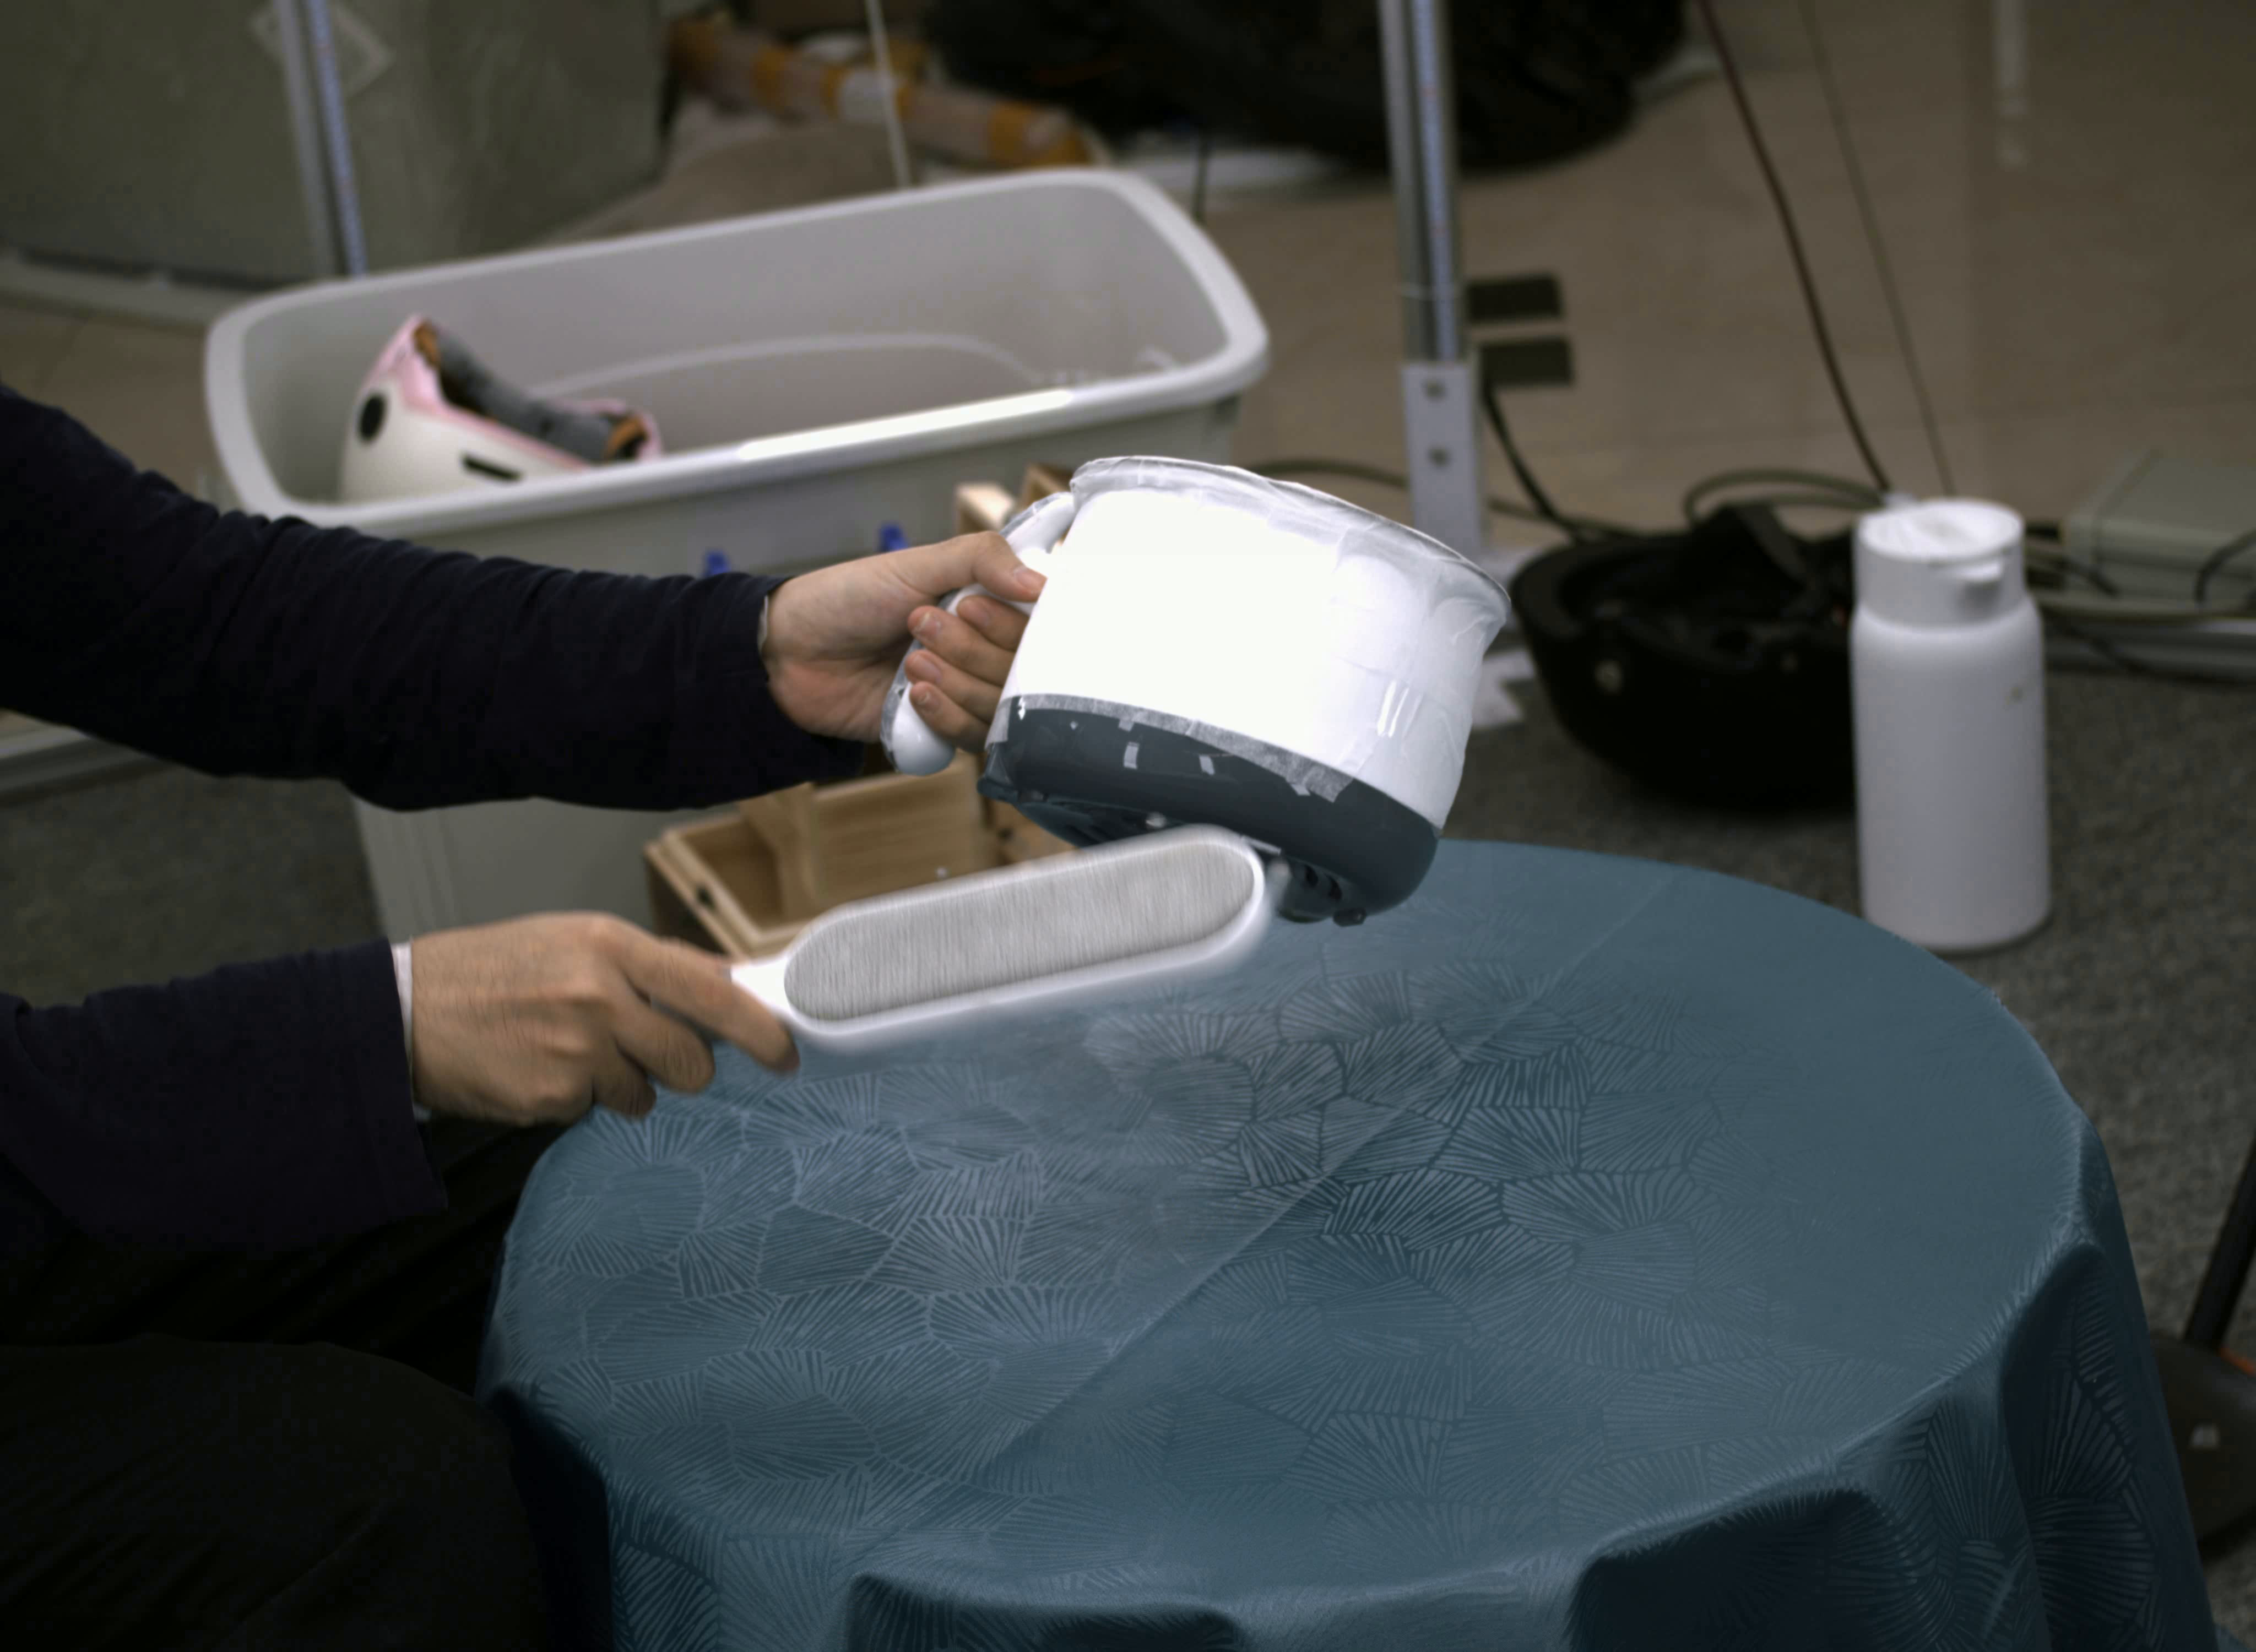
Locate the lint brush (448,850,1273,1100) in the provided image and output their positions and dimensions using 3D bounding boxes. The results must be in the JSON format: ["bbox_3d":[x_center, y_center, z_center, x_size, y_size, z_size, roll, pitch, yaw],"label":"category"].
[{"bbox_3d":[-0.097,0.057,2.004,0.309,0.021,0.059,-11,56,14],"label":"lint brush"}]

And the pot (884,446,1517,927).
[{"bbox_3d":[0.021,-0.056,2.177,0.232,0.180,0.136,13,76,26],"label":"pot"}]
